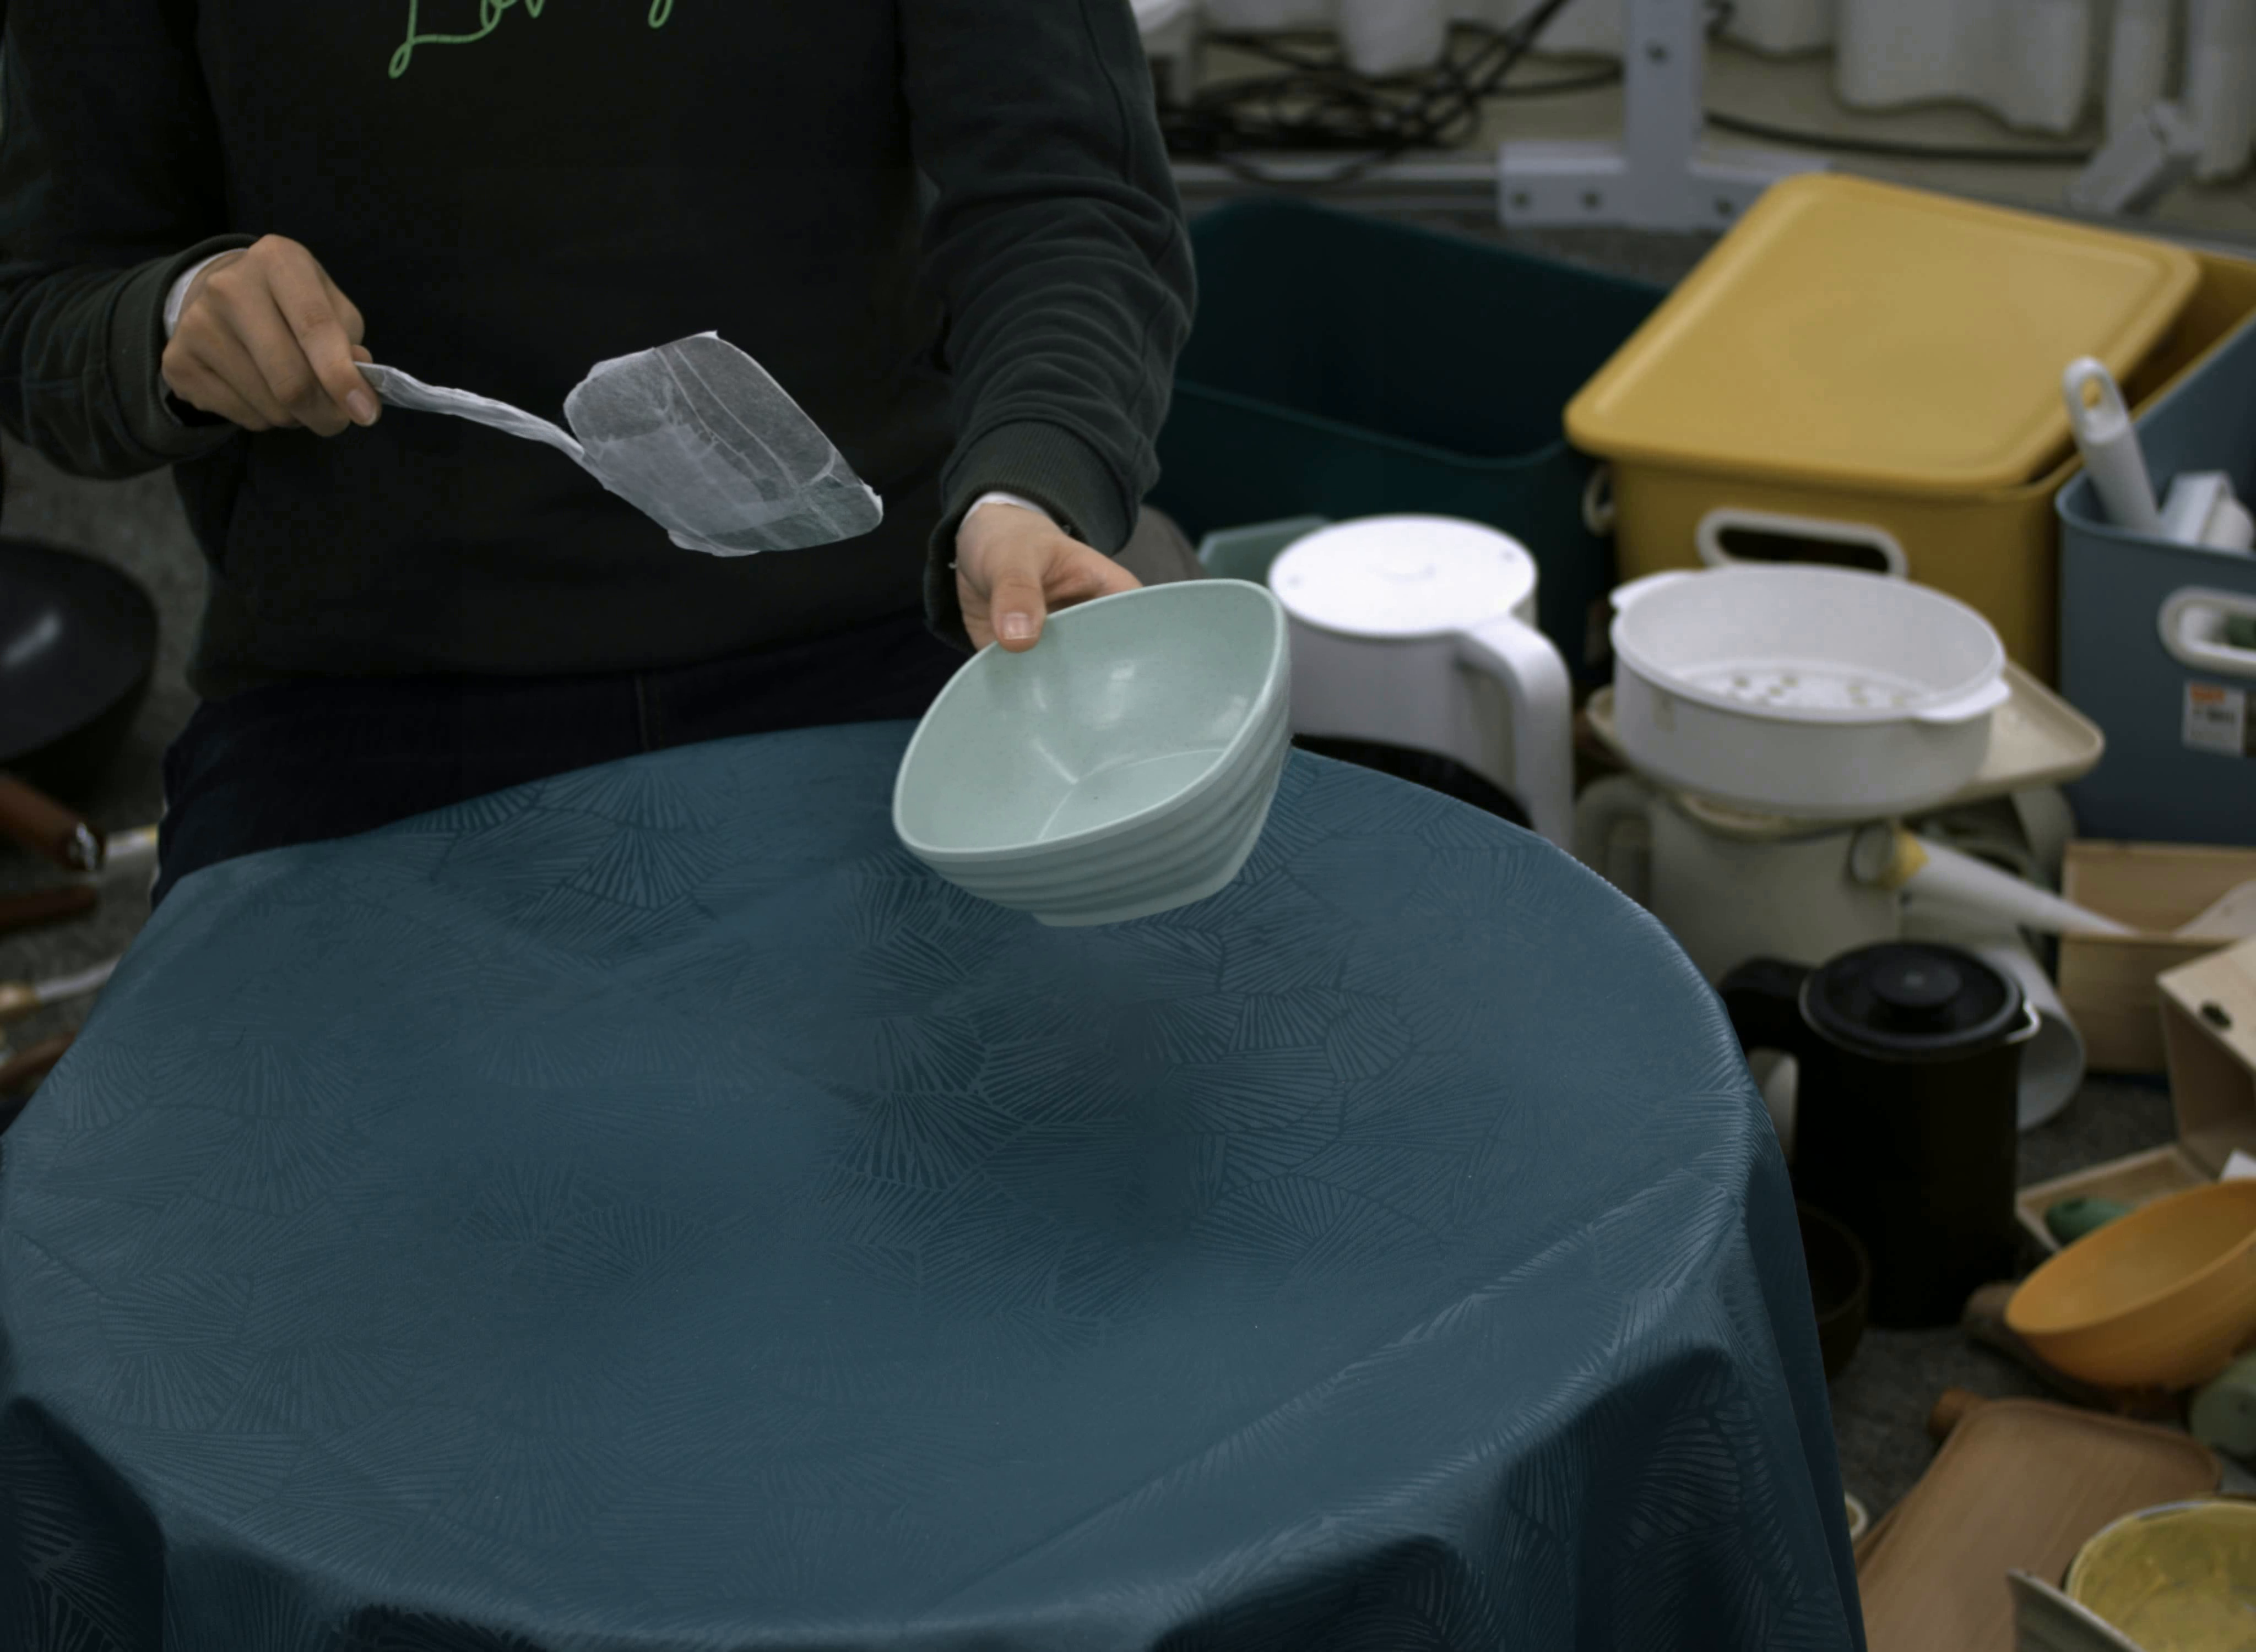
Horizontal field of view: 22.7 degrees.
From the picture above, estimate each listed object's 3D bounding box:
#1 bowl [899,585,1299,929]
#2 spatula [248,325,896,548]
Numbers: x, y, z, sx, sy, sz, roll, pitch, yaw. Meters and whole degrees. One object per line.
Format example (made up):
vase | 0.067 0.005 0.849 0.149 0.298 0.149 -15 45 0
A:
bowl | -0.001 -0.015 1.886 0.150 0.058 0.154 -17 33 12
spatula | -0.213 -0.144 1.961 0.363 0.098 0.045 15 64 52
